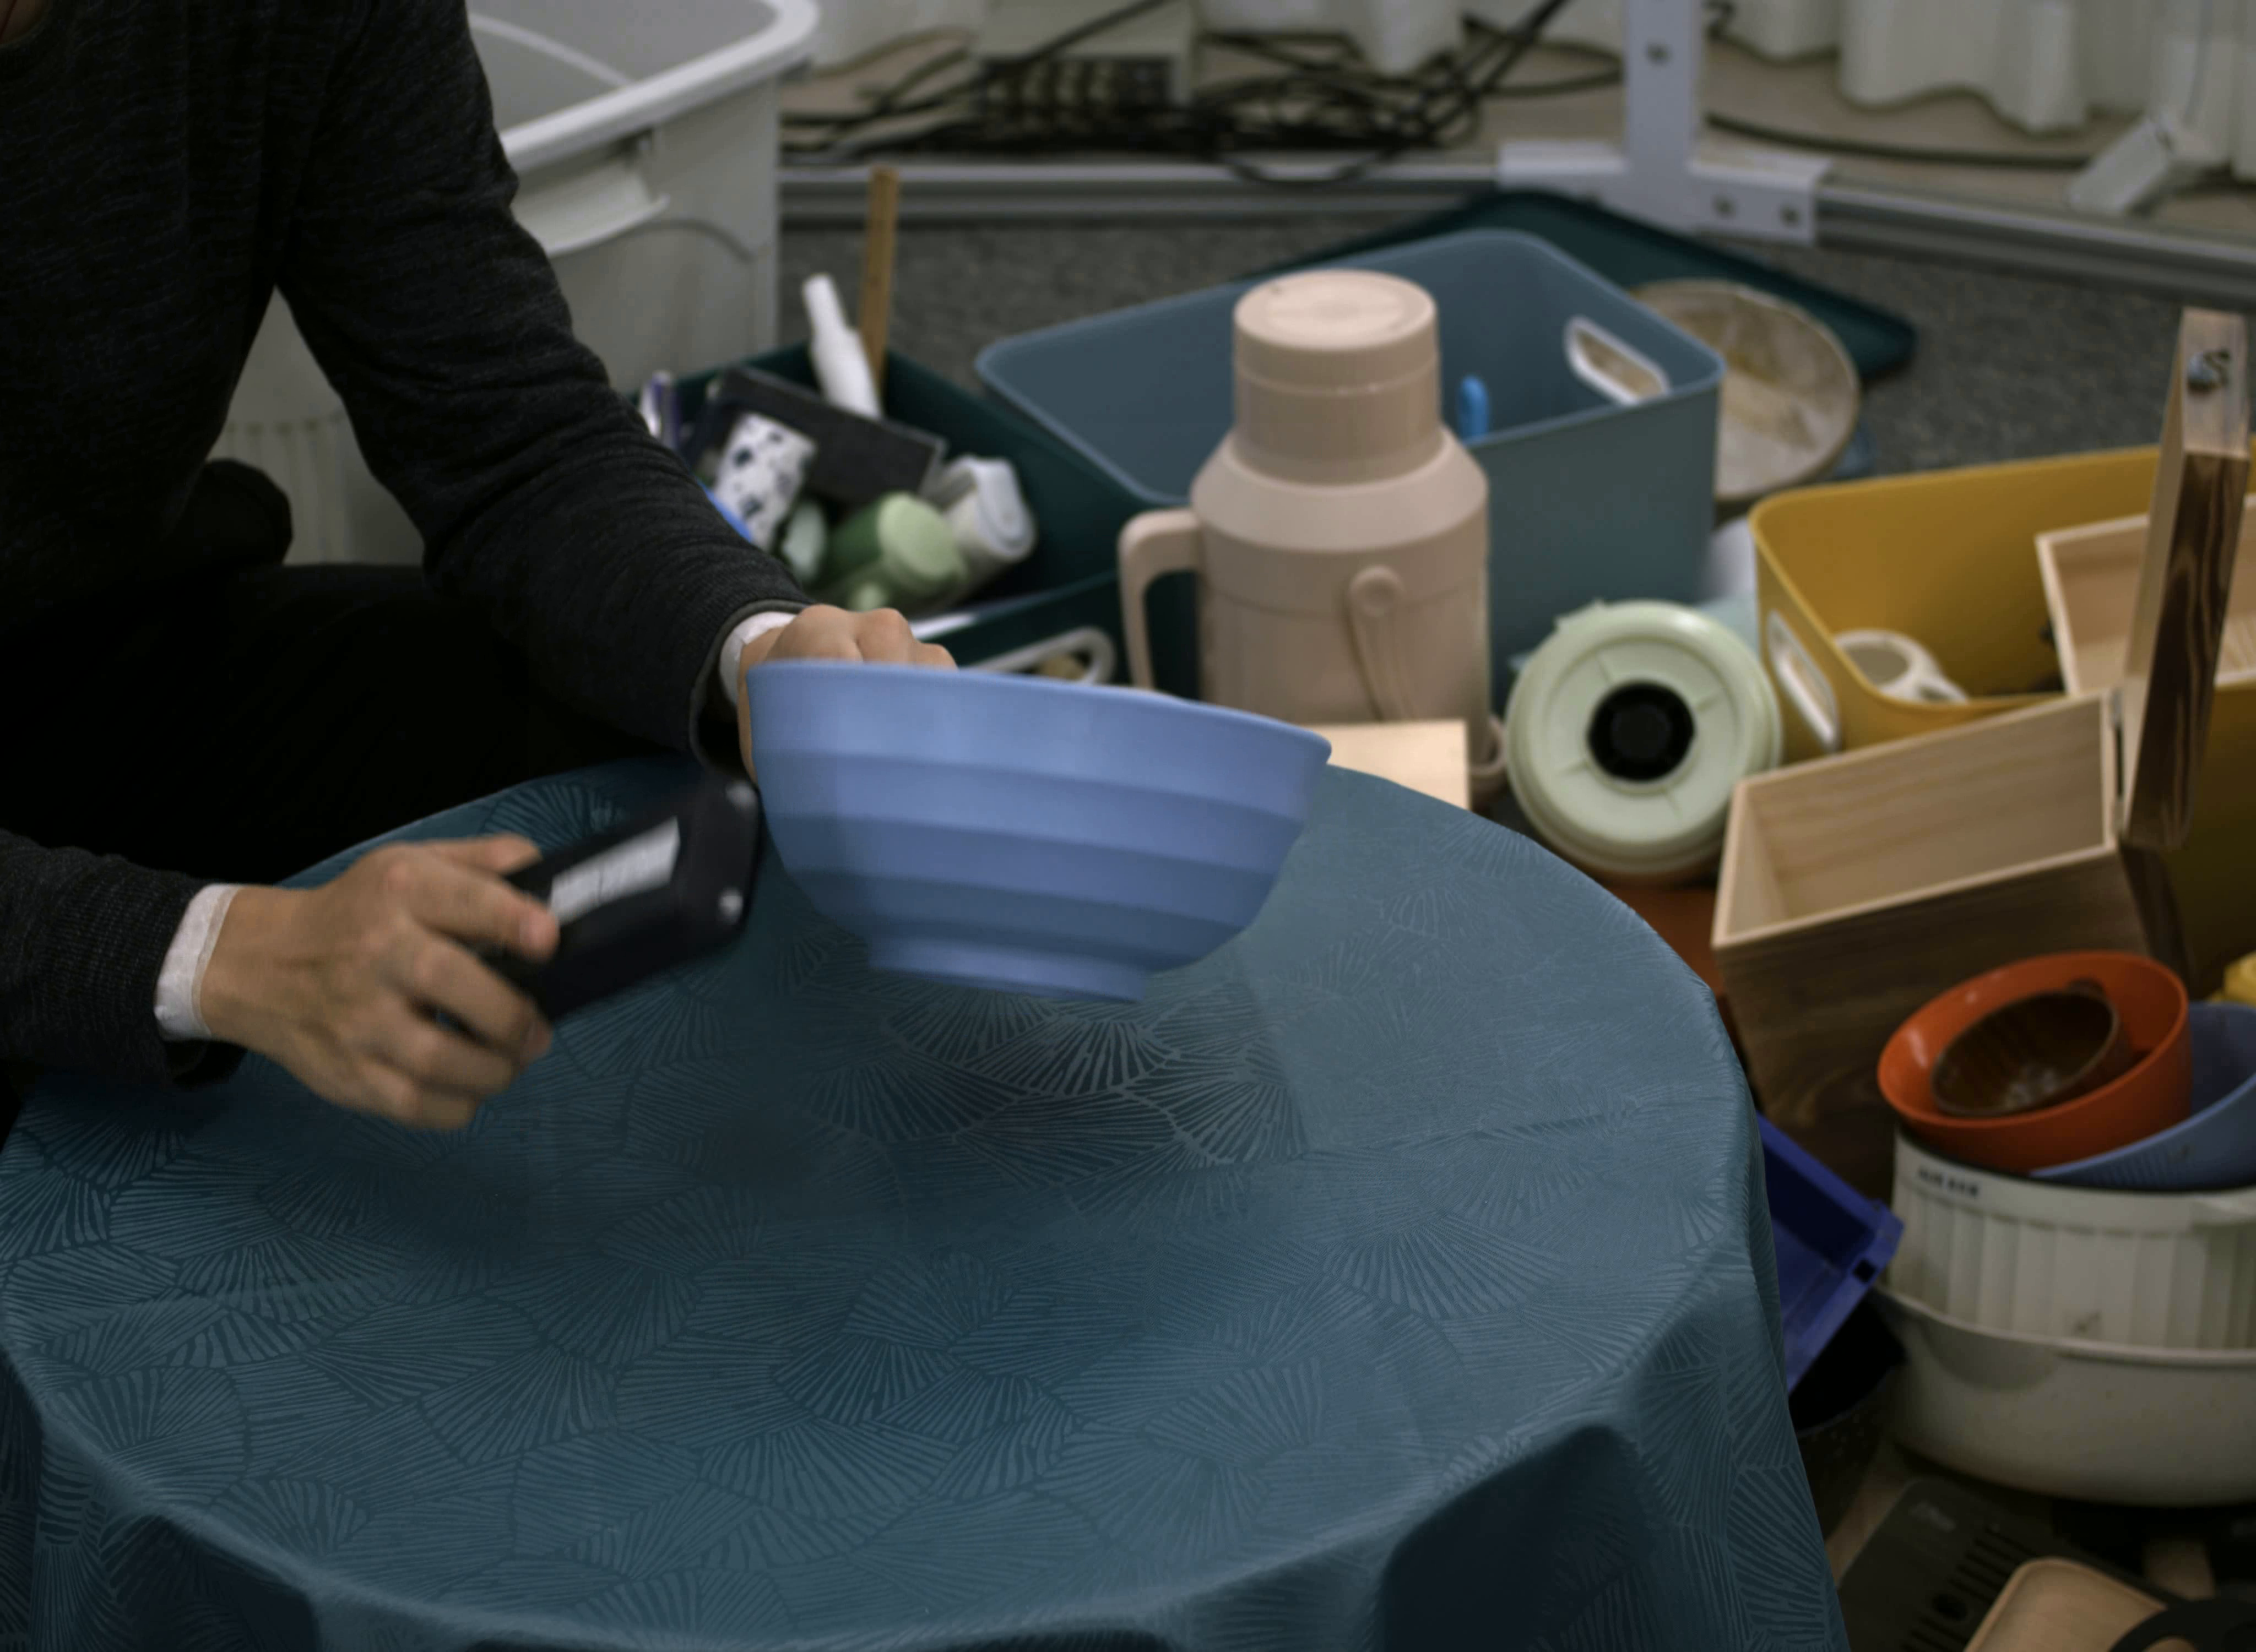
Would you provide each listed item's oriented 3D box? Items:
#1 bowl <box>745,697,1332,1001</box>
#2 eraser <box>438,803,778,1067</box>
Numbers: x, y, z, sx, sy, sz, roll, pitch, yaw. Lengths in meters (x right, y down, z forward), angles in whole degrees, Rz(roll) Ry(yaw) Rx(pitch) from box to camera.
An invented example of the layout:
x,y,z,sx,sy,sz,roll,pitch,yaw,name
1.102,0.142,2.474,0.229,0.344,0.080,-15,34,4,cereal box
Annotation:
x,y,z,sx,sy,sz,roll,pitch,yaw,name
-0.031,0.009,1.870,0.195,0.096,0.196,2,0,0,bowl
-0.166,0.035,1.788,0.123,0.030,0.054,-22,41,39,eraser
